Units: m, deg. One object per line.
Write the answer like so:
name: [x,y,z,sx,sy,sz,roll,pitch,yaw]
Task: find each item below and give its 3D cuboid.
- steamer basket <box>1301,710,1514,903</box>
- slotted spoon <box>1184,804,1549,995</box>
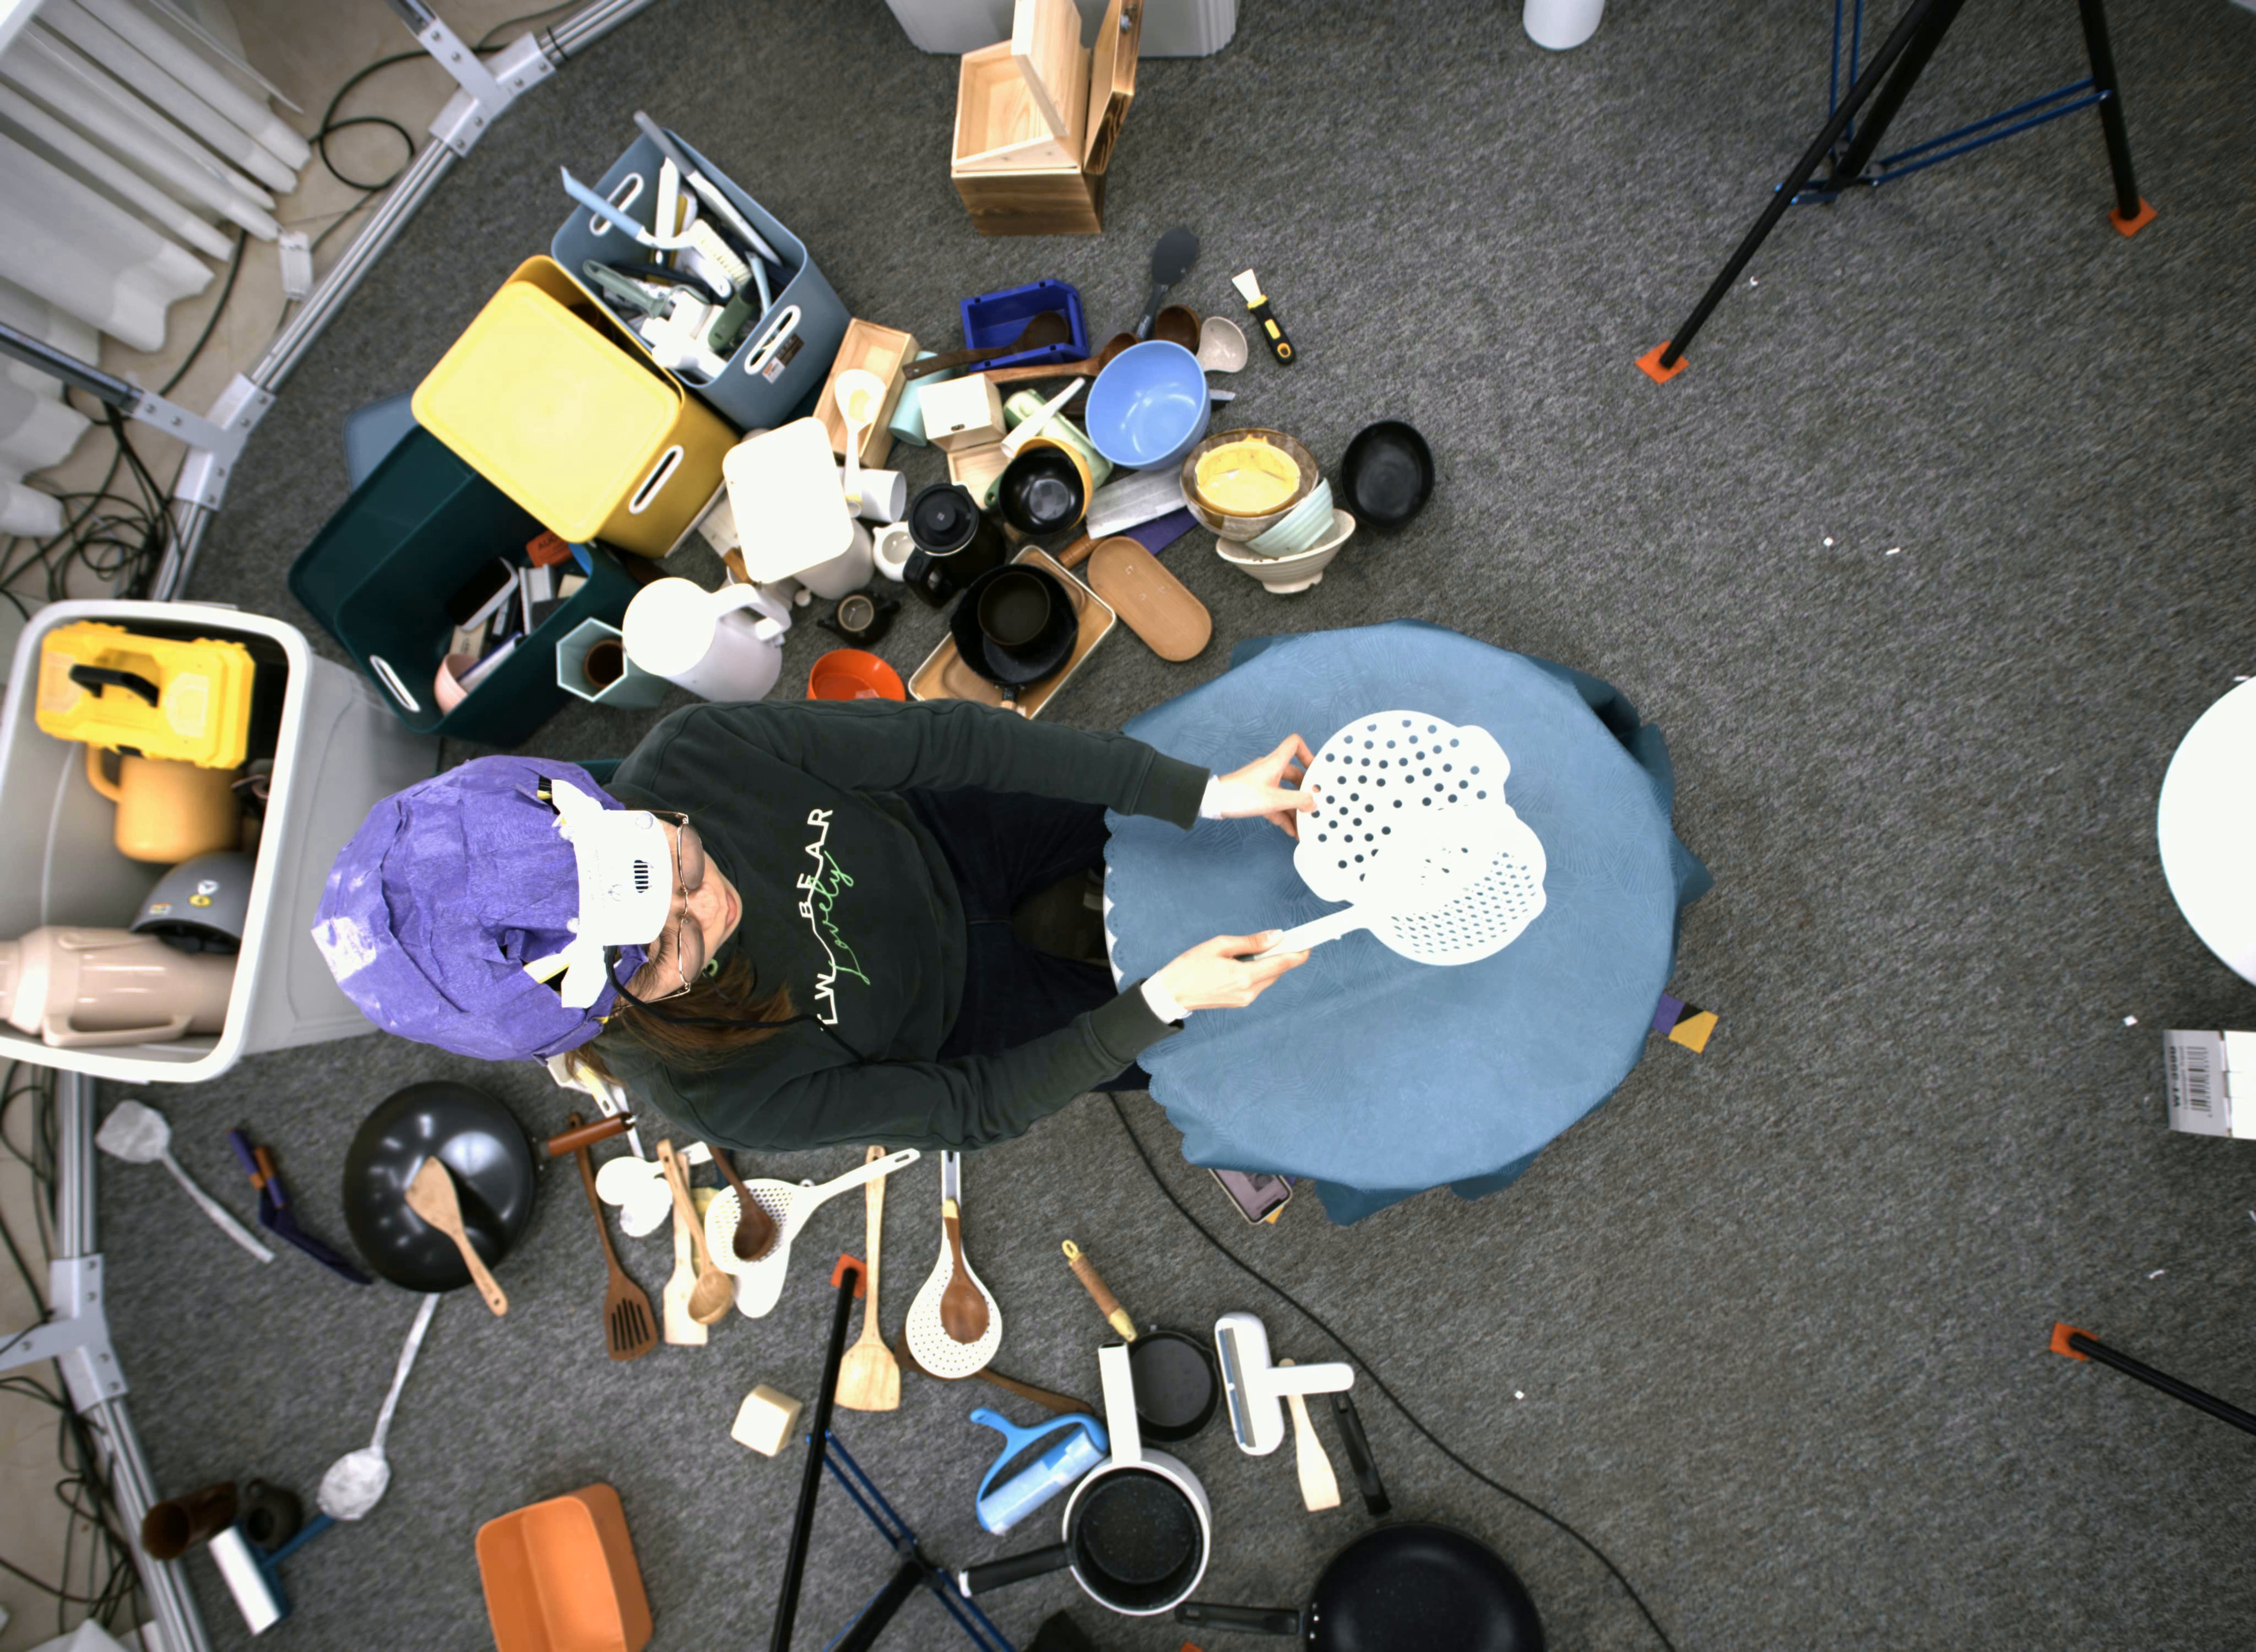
steamer basket: [0.277,-0.019,1.377,0.233,0.068,0.202,-38,94,16]
slotted spoon: [0.215,0.090,1.293,0.361,0.077,0.165,-15,45,11]
